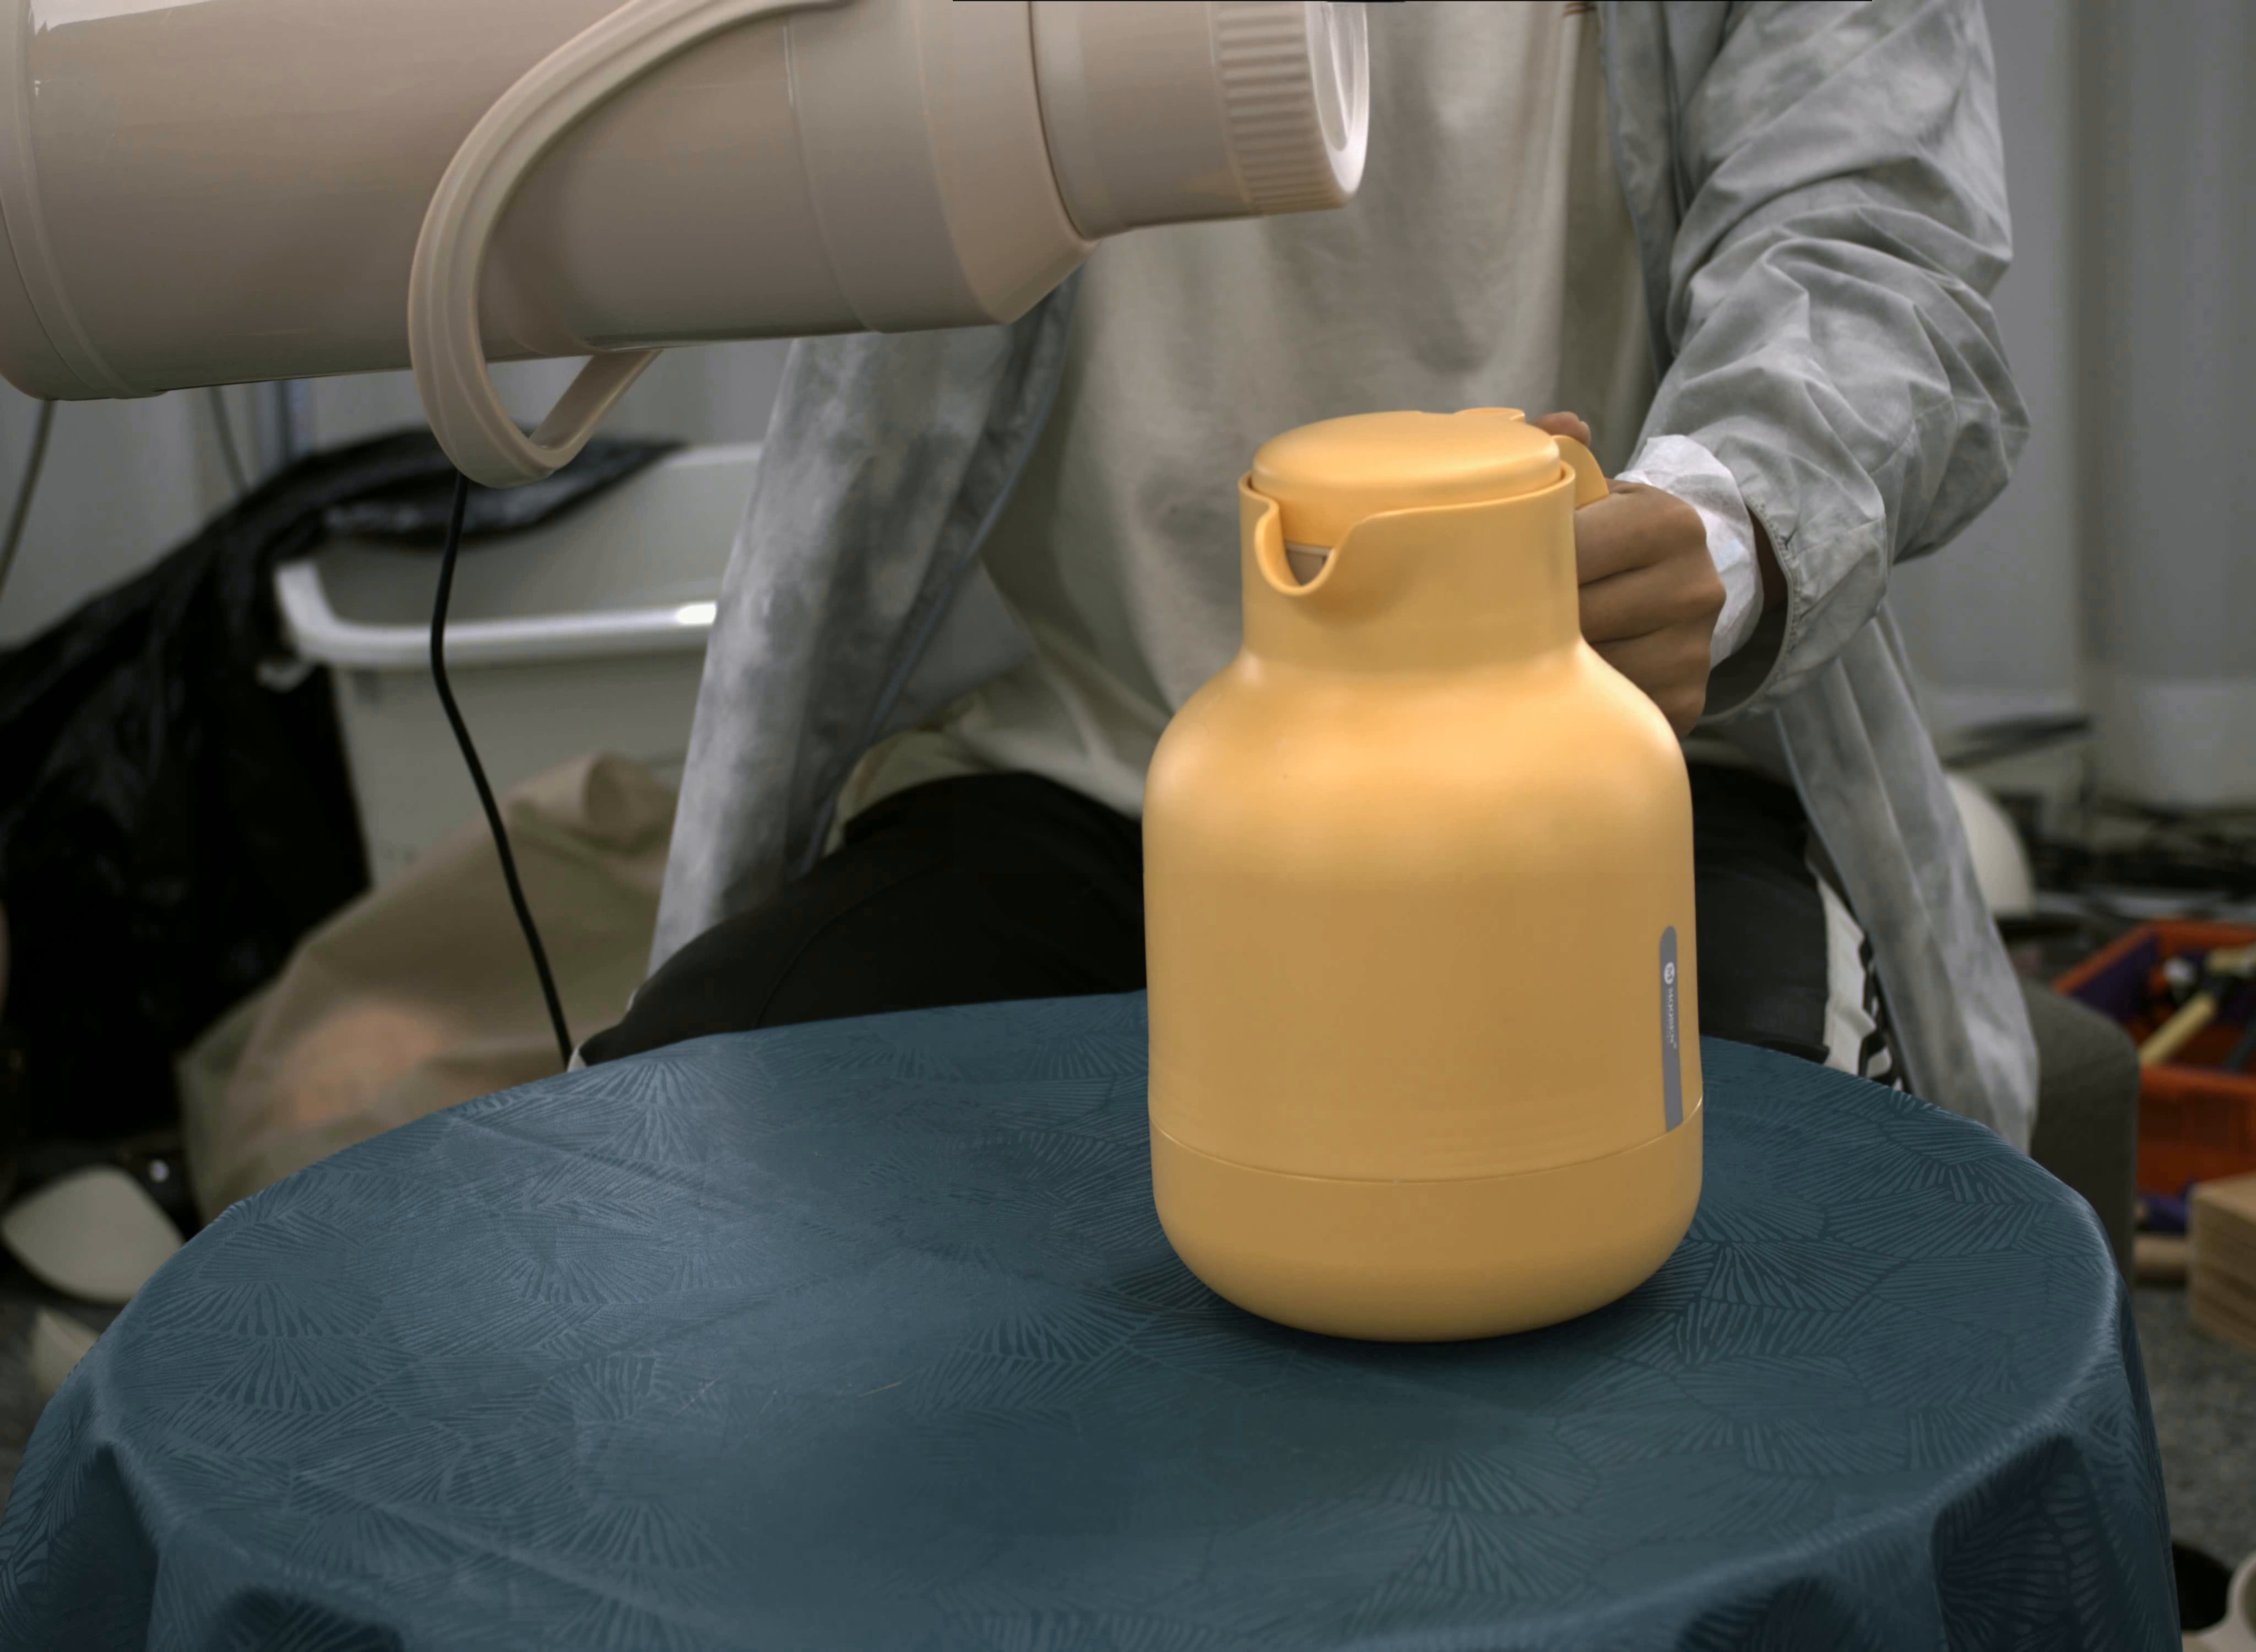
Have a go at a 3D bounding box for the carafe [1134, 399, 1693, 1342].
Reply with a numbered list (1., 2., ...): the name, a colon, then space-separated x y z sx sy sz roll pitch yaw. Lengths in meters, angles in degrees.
1. carafe: 0.093 0.005 1.610 0.164 0.259 0.202 8 18 30

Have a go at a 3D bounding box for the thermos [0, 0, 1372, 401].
1. thermos: -0.135 -0.231 1.610 0.406 0.209 0.174 -3 -14 14
